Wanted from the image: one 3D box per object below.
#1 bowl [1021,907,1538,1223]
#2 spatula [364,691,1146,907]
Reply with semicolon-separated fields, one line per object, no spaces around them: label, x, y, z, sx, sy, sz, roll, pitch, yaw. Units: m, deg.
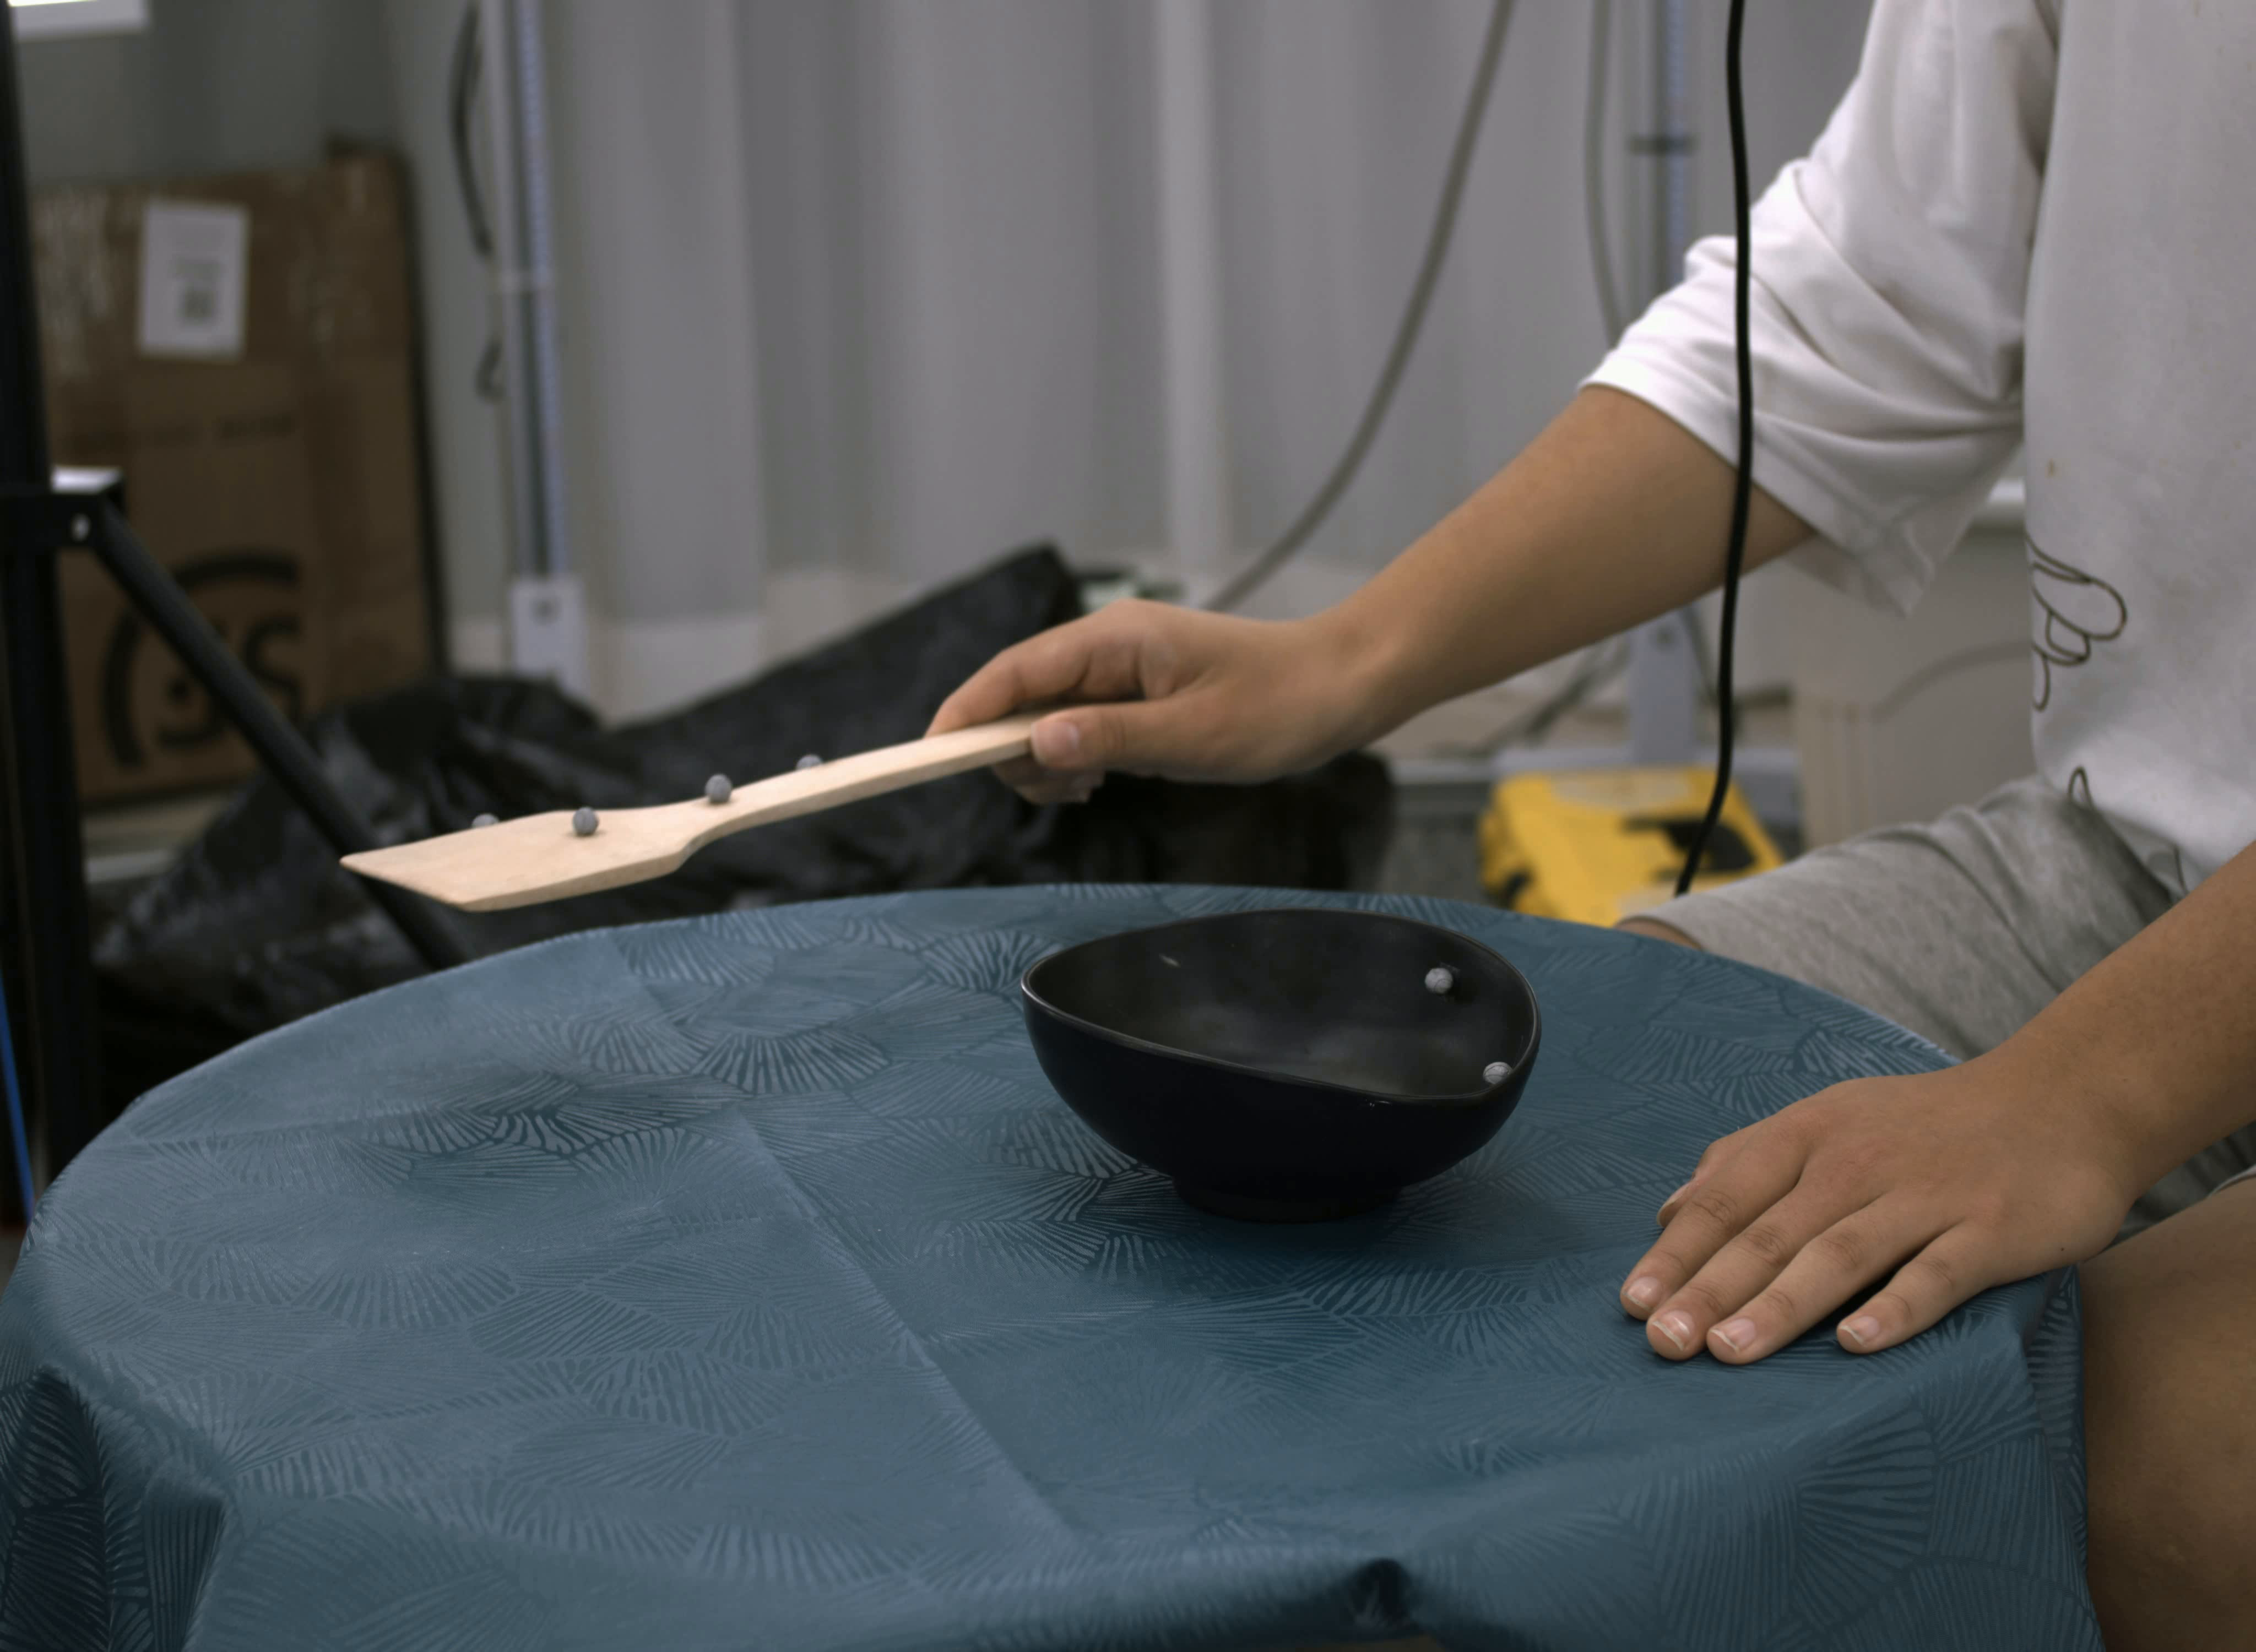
bowl;0.045;0.074;1.555;0.134;0.066;0.174;-16;23;-41
spatula;-0.109;-0.011;1.716;0.286;0.010;0.074;-16;20;-37
